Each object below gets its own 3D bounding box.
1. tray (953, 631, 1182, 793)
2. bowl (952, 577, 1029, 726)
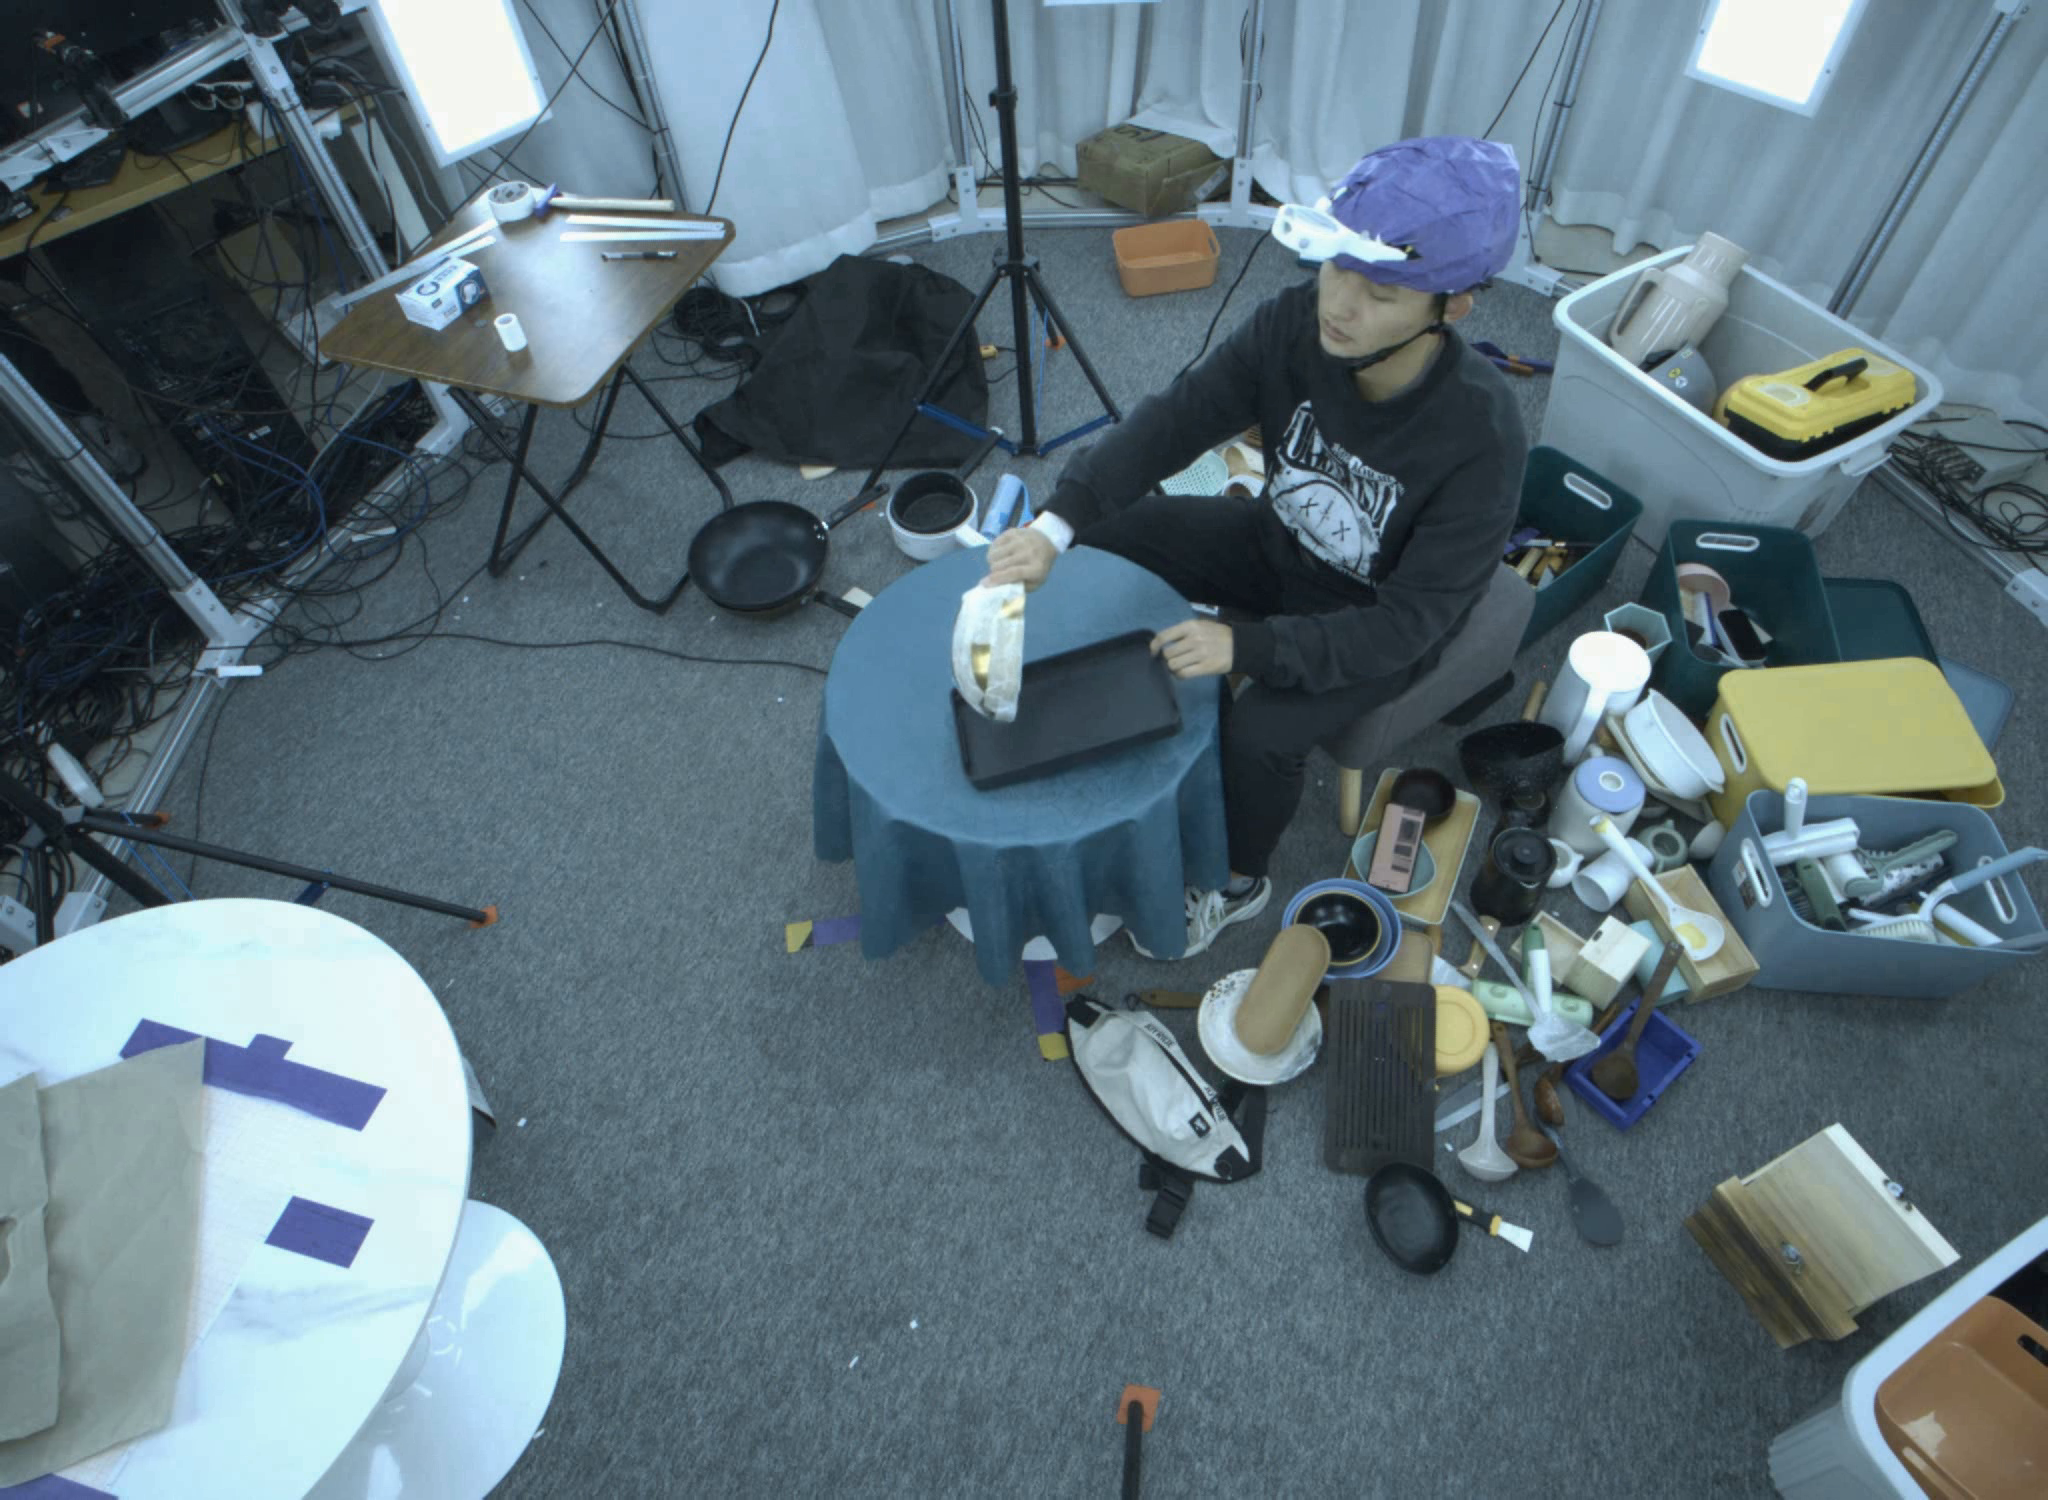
[{"bbox_3d":[0.060,-0.055,1.780,0.317,0.037,0.182,-15,57,6],"label":"tray"},{"bbox_3d":[-0.051,-0.137,1.673,0.095,0.216,0.212,4,55,-4],"label":"bowl"}]
